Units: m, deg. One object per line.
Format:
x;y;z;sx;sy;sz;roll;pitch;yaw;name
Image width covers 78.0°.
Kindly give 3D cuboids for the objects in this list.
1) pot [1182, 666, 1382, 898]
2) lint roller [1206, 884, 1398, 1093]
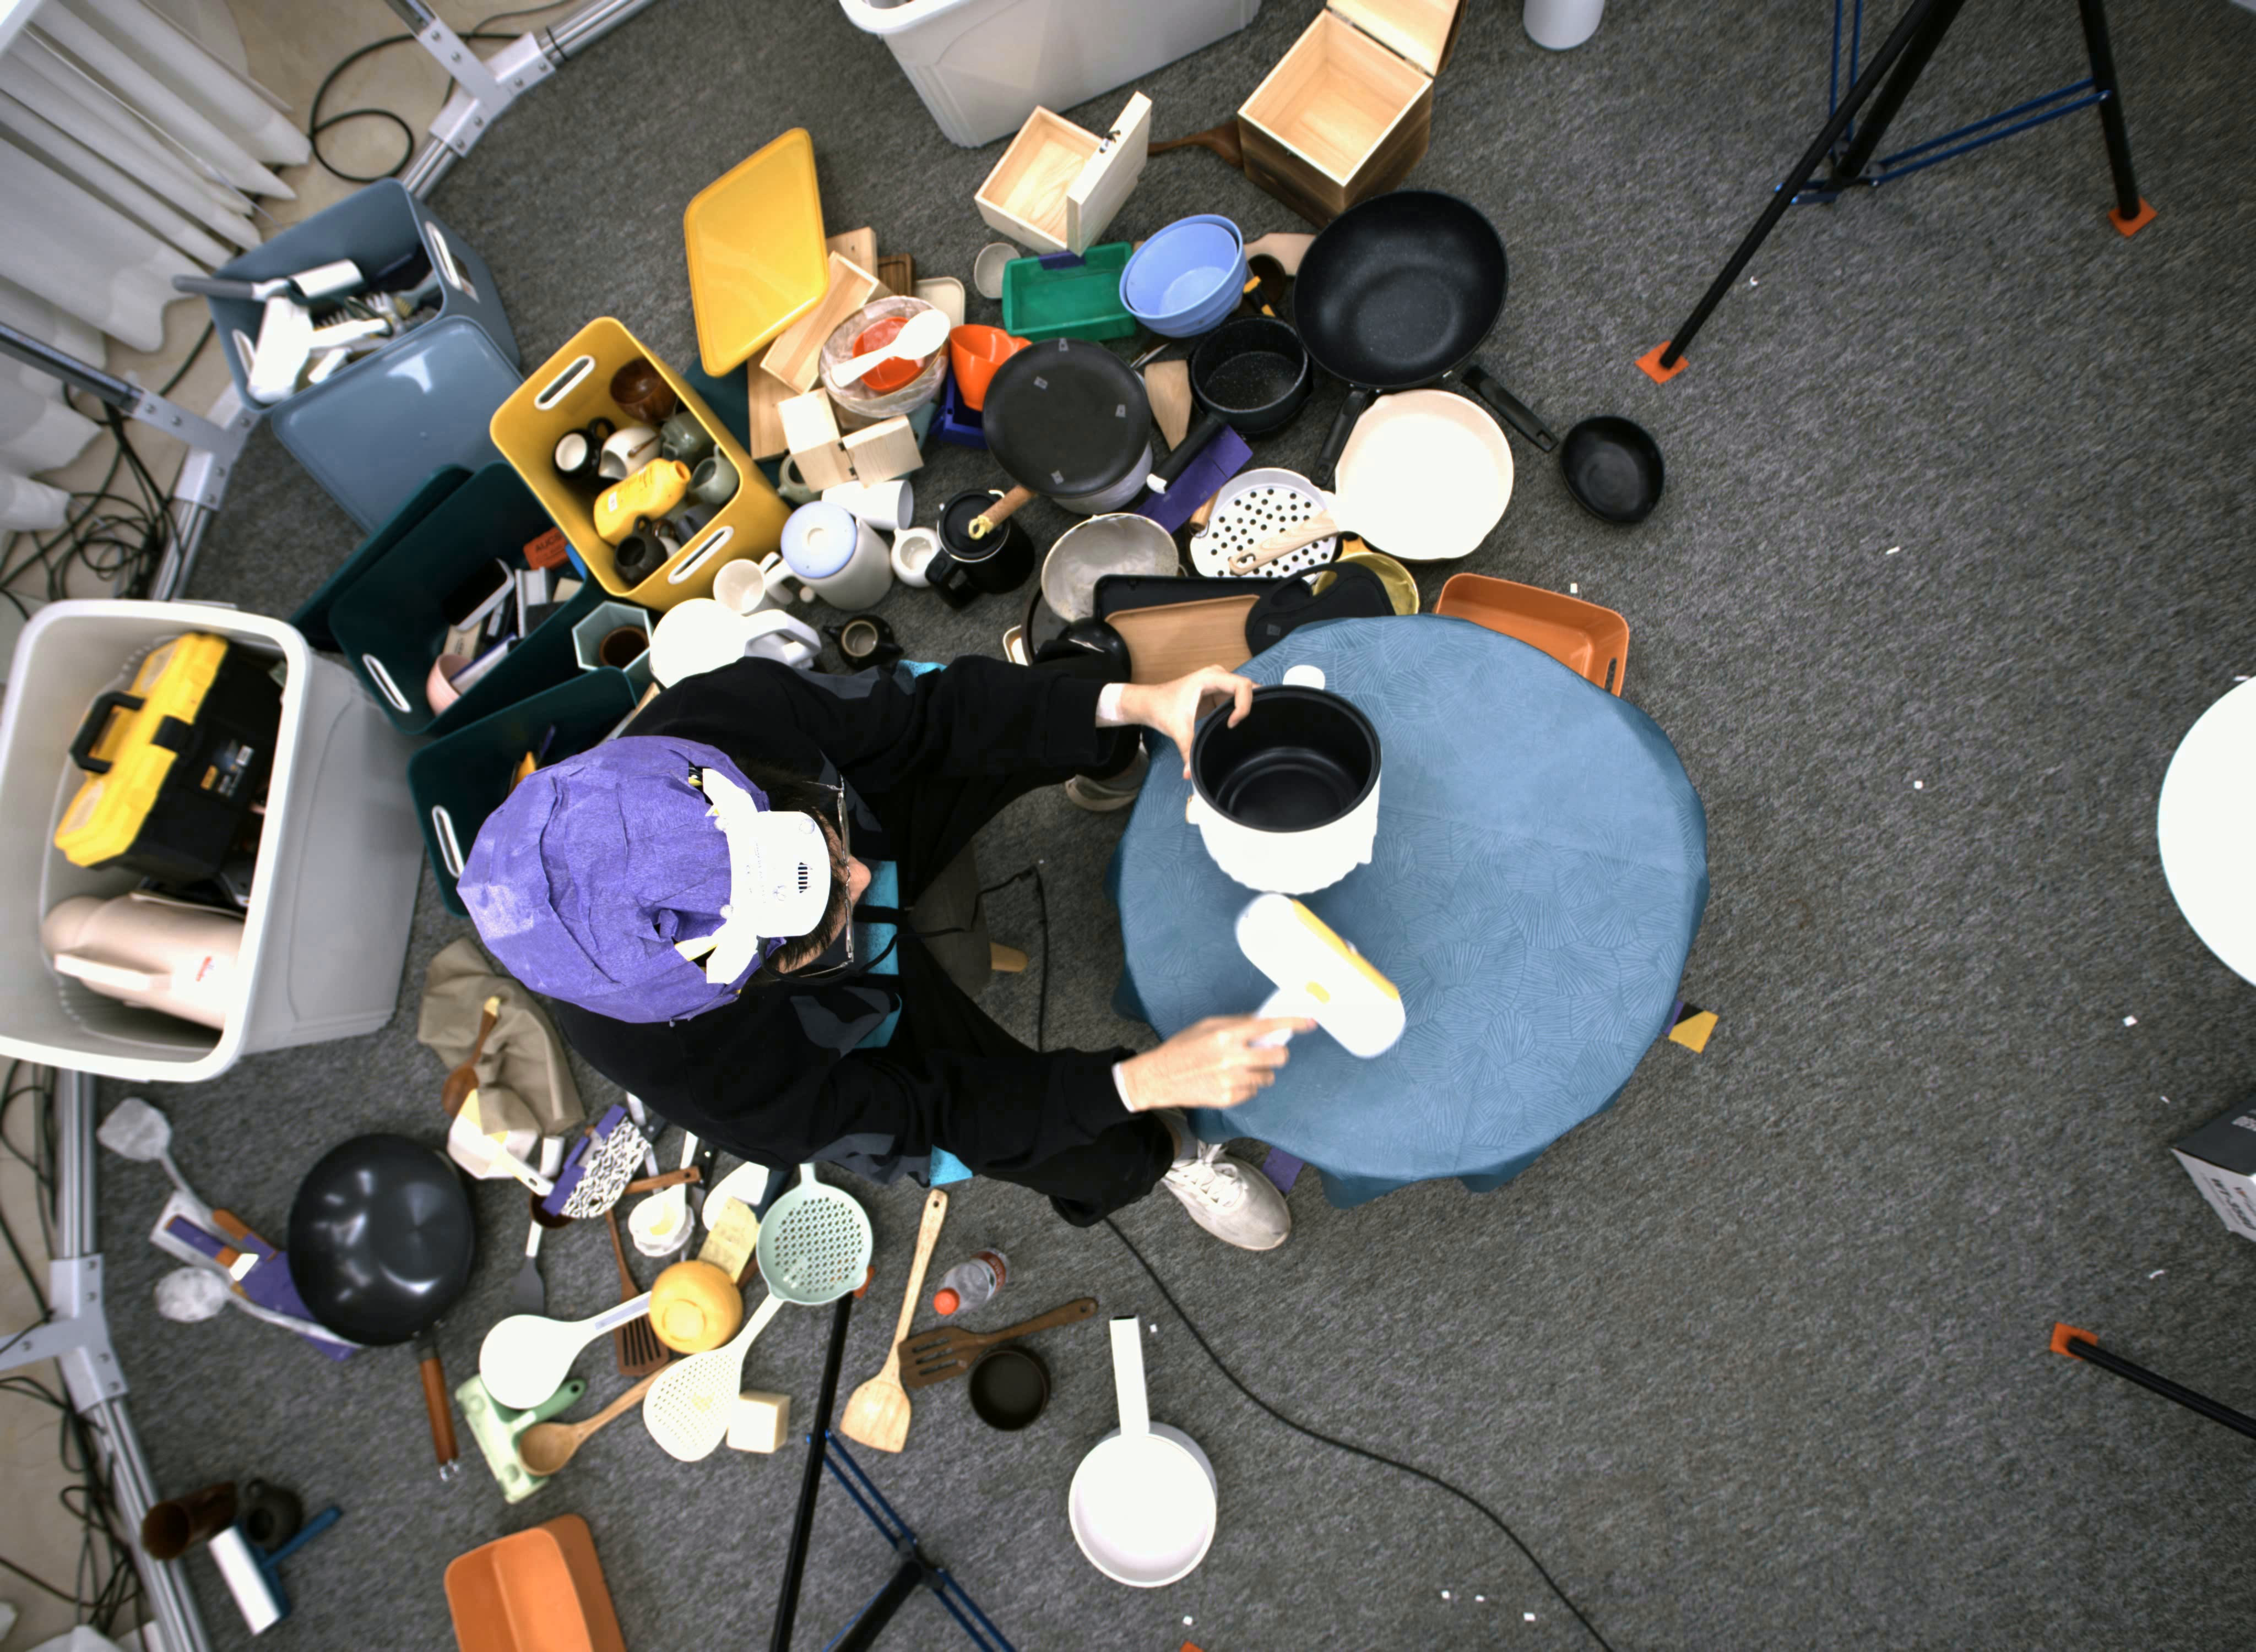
0.146;-0.026;1.345;0.191;0.146;0.234;10;56;11;pot
0.140;0.175;1.344;0.194;0.072;0.195;32;111;-15;lint roller
